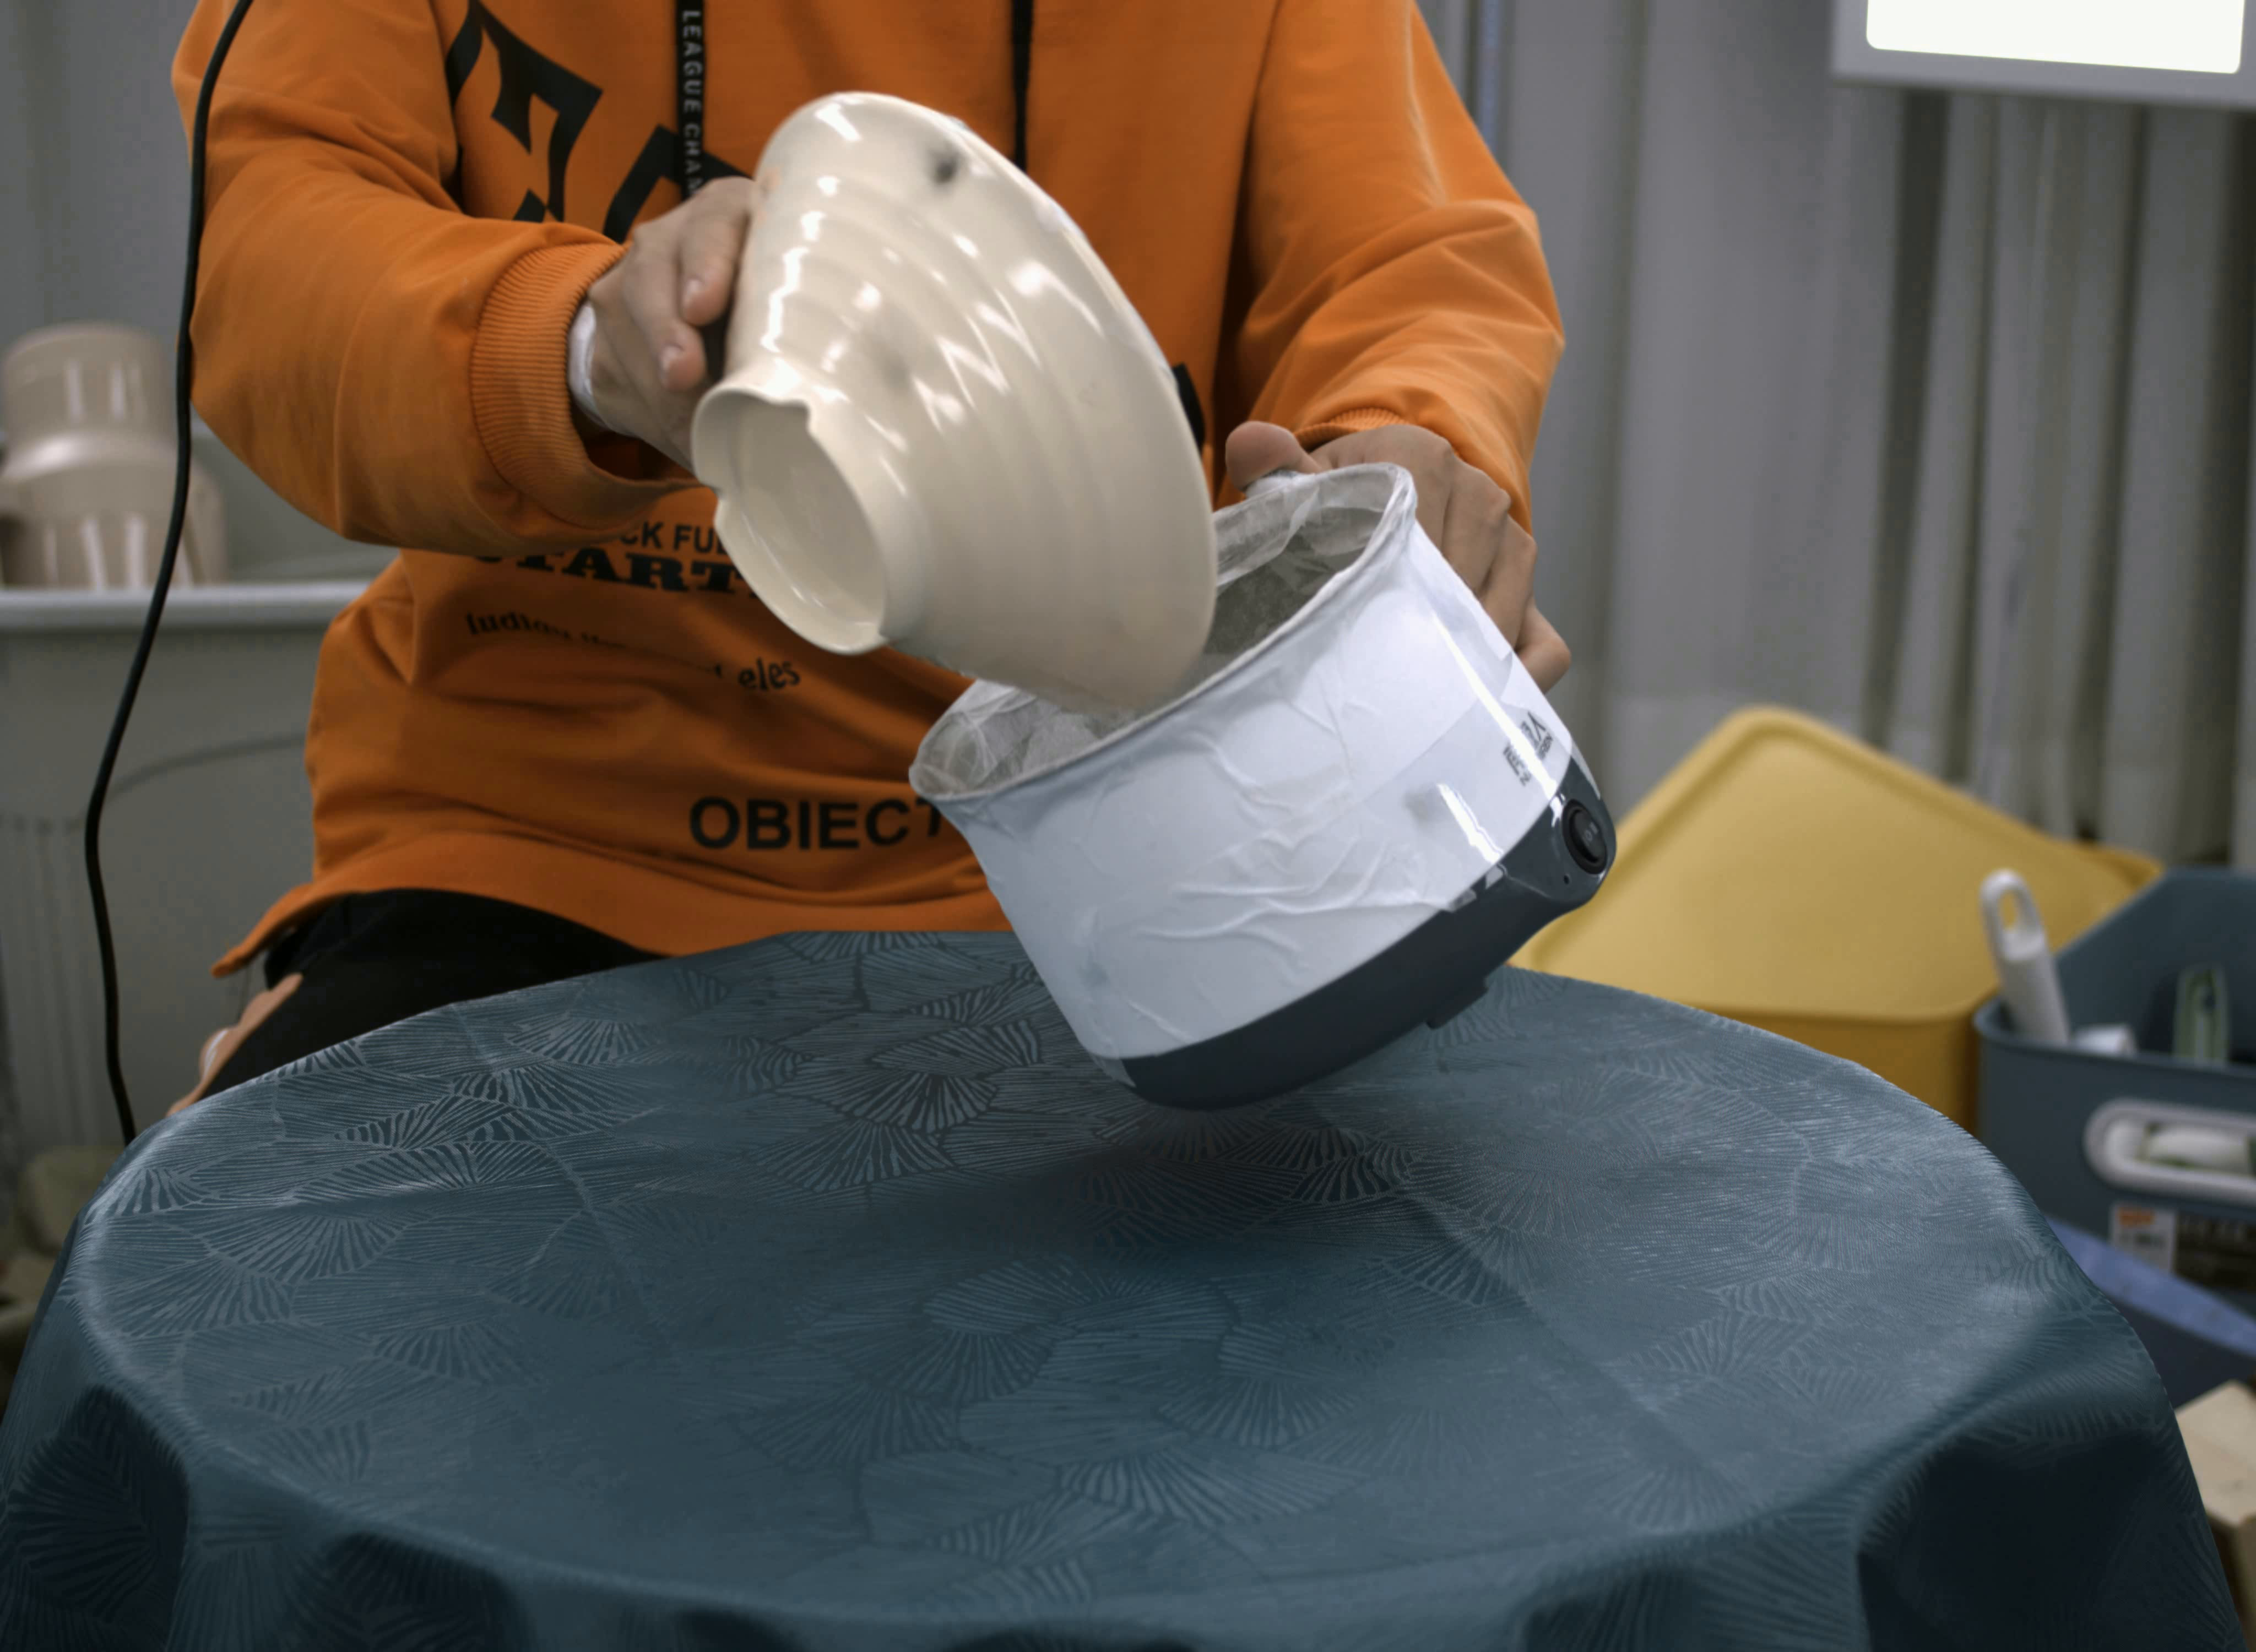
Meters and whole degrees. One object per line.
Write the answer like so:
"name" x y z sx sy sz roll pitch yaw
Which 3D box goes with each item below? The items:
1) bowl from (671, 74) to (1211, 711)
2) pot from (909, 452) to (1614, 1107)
"bowl" -0.074 -0.108 1.520 0.201 0.206 0.078 16 41 43
"pot" 0.050 -0.024 1.616 0.177 0.138 0.233 -22 19 30
